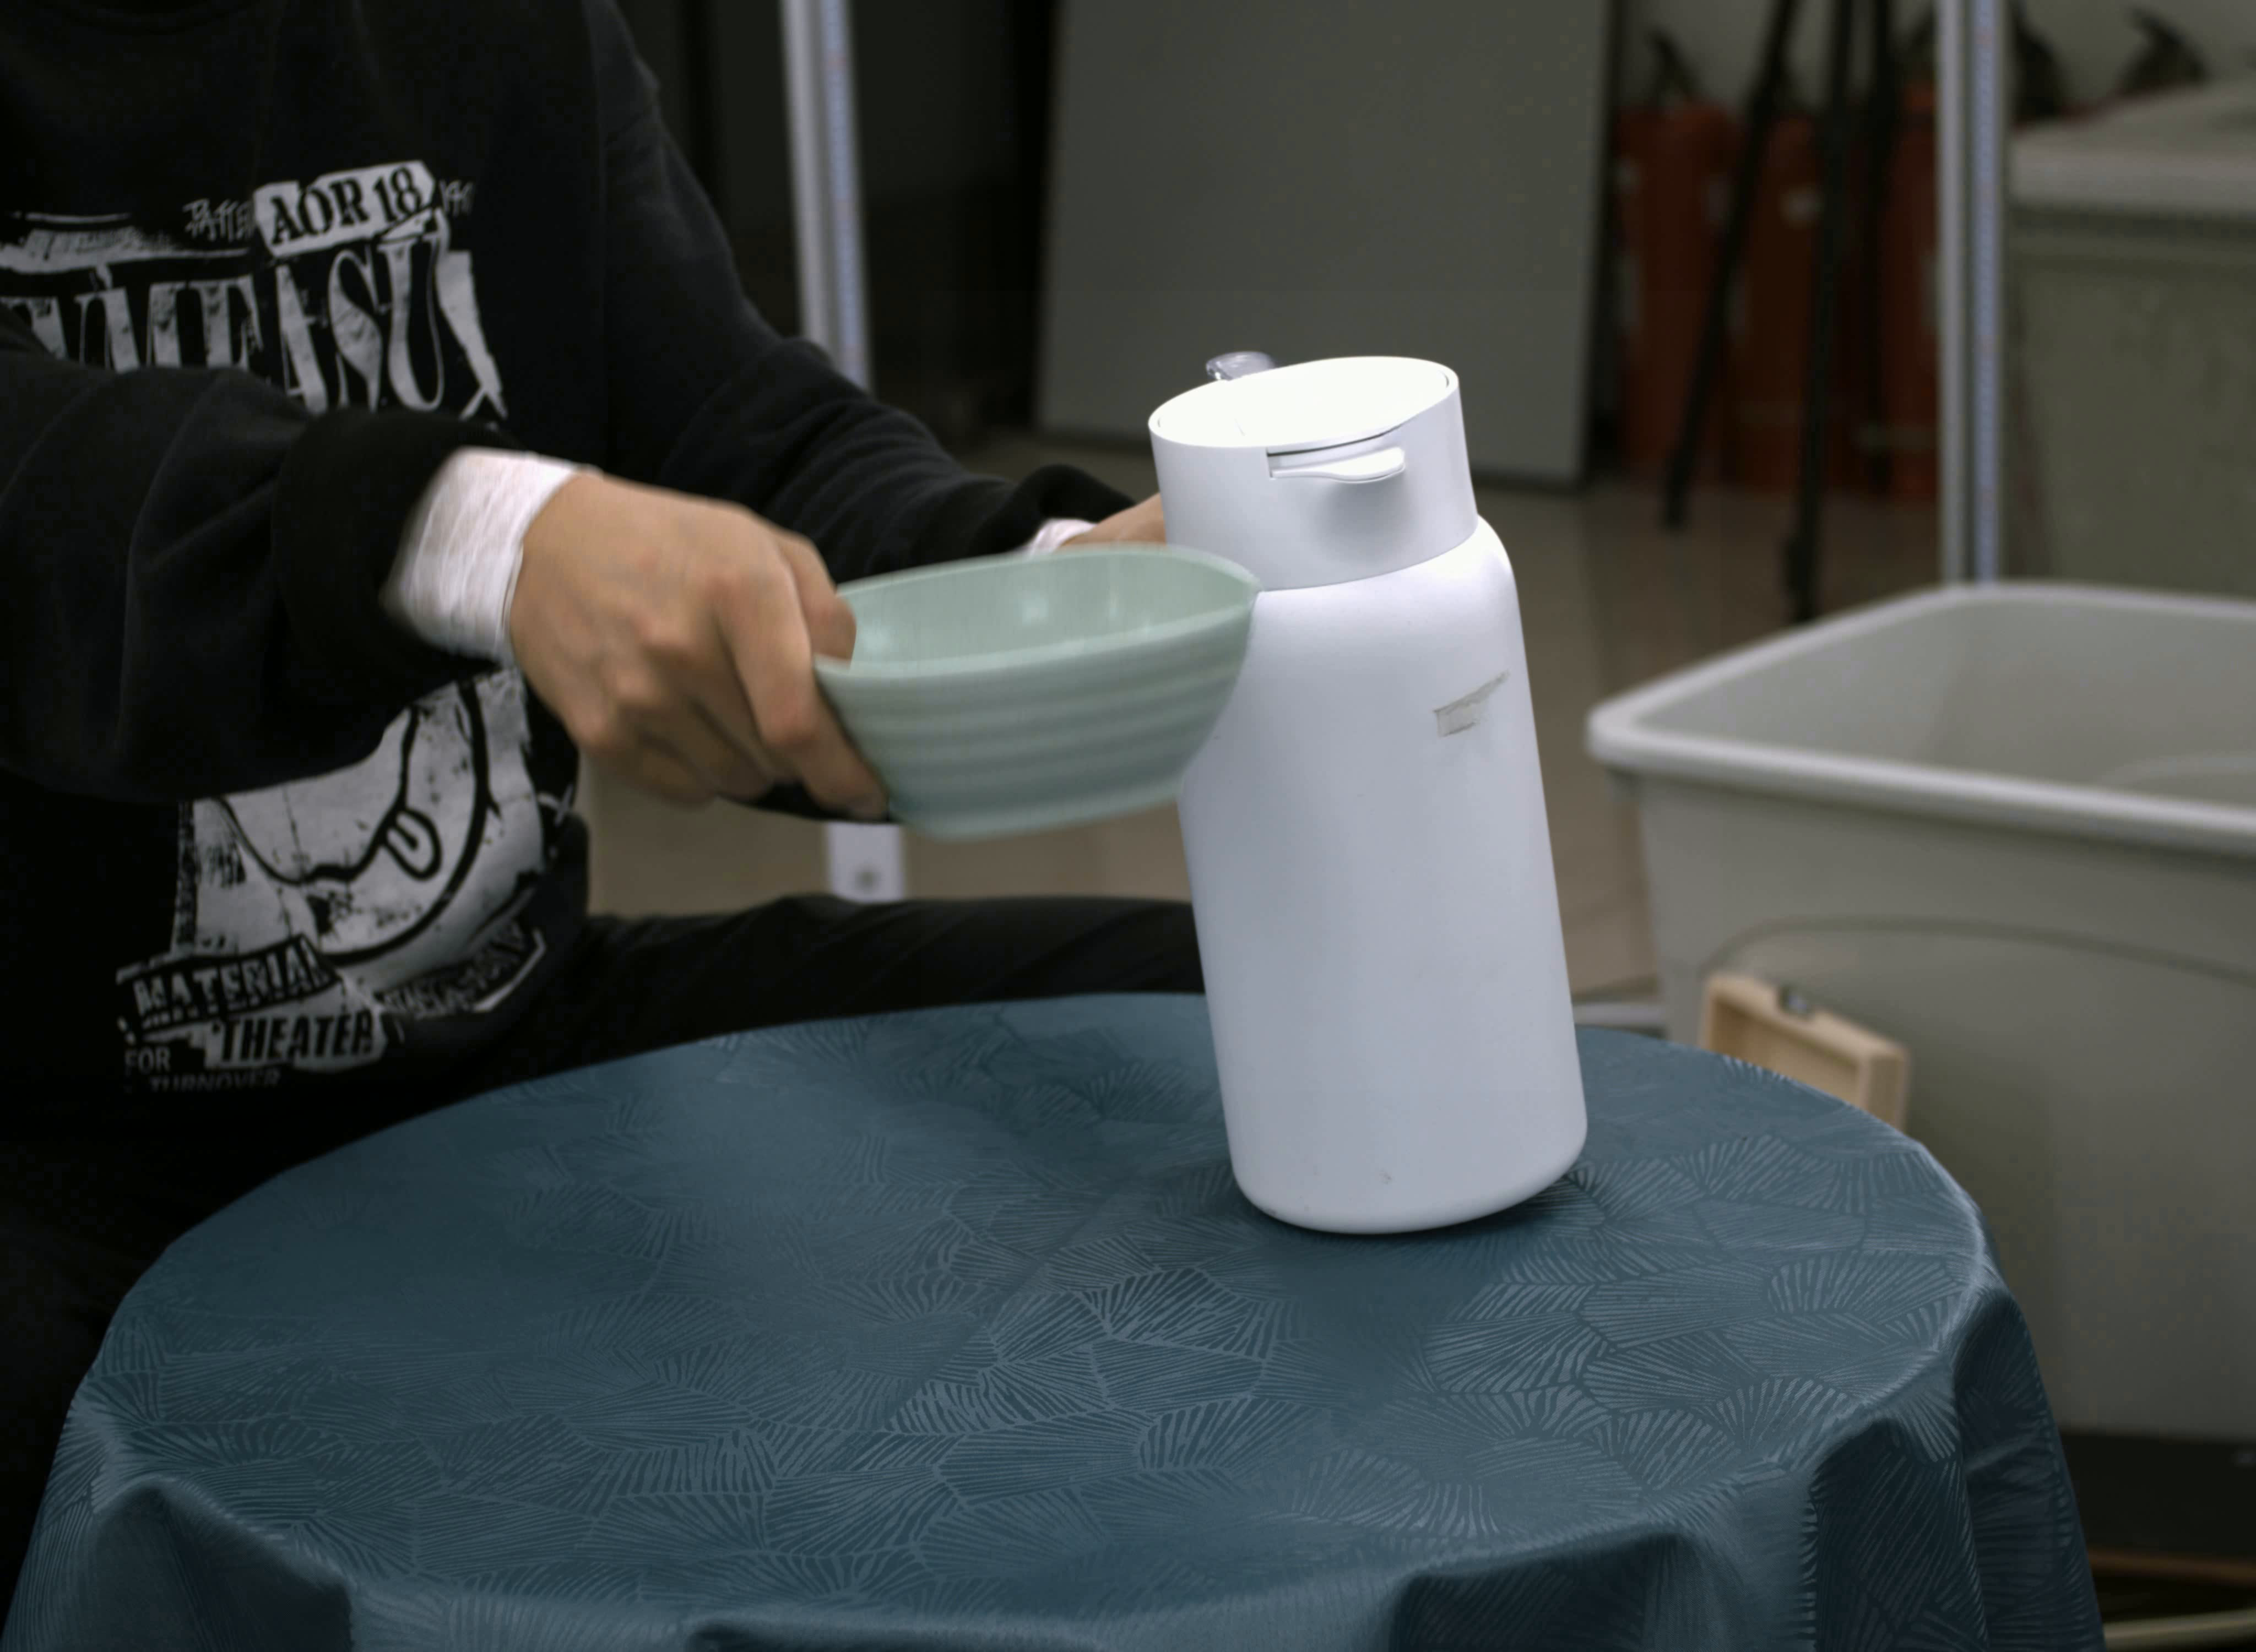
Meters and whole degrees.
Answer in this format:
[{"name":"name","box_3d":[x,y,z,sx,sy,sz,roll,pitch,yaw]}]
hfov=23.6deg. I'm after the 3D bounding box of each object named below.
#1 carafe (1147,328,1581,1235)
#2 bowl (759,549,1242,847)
[{"name":"carafe","box_3d":[0.066,-0.017,1.732,0.122,0.271,0.174,-16,18,-14]},{"name":"bowl","box_3d":[-0.034,-0.035,1.564,0.149,0.059,0.152,-7,14,1]}]
